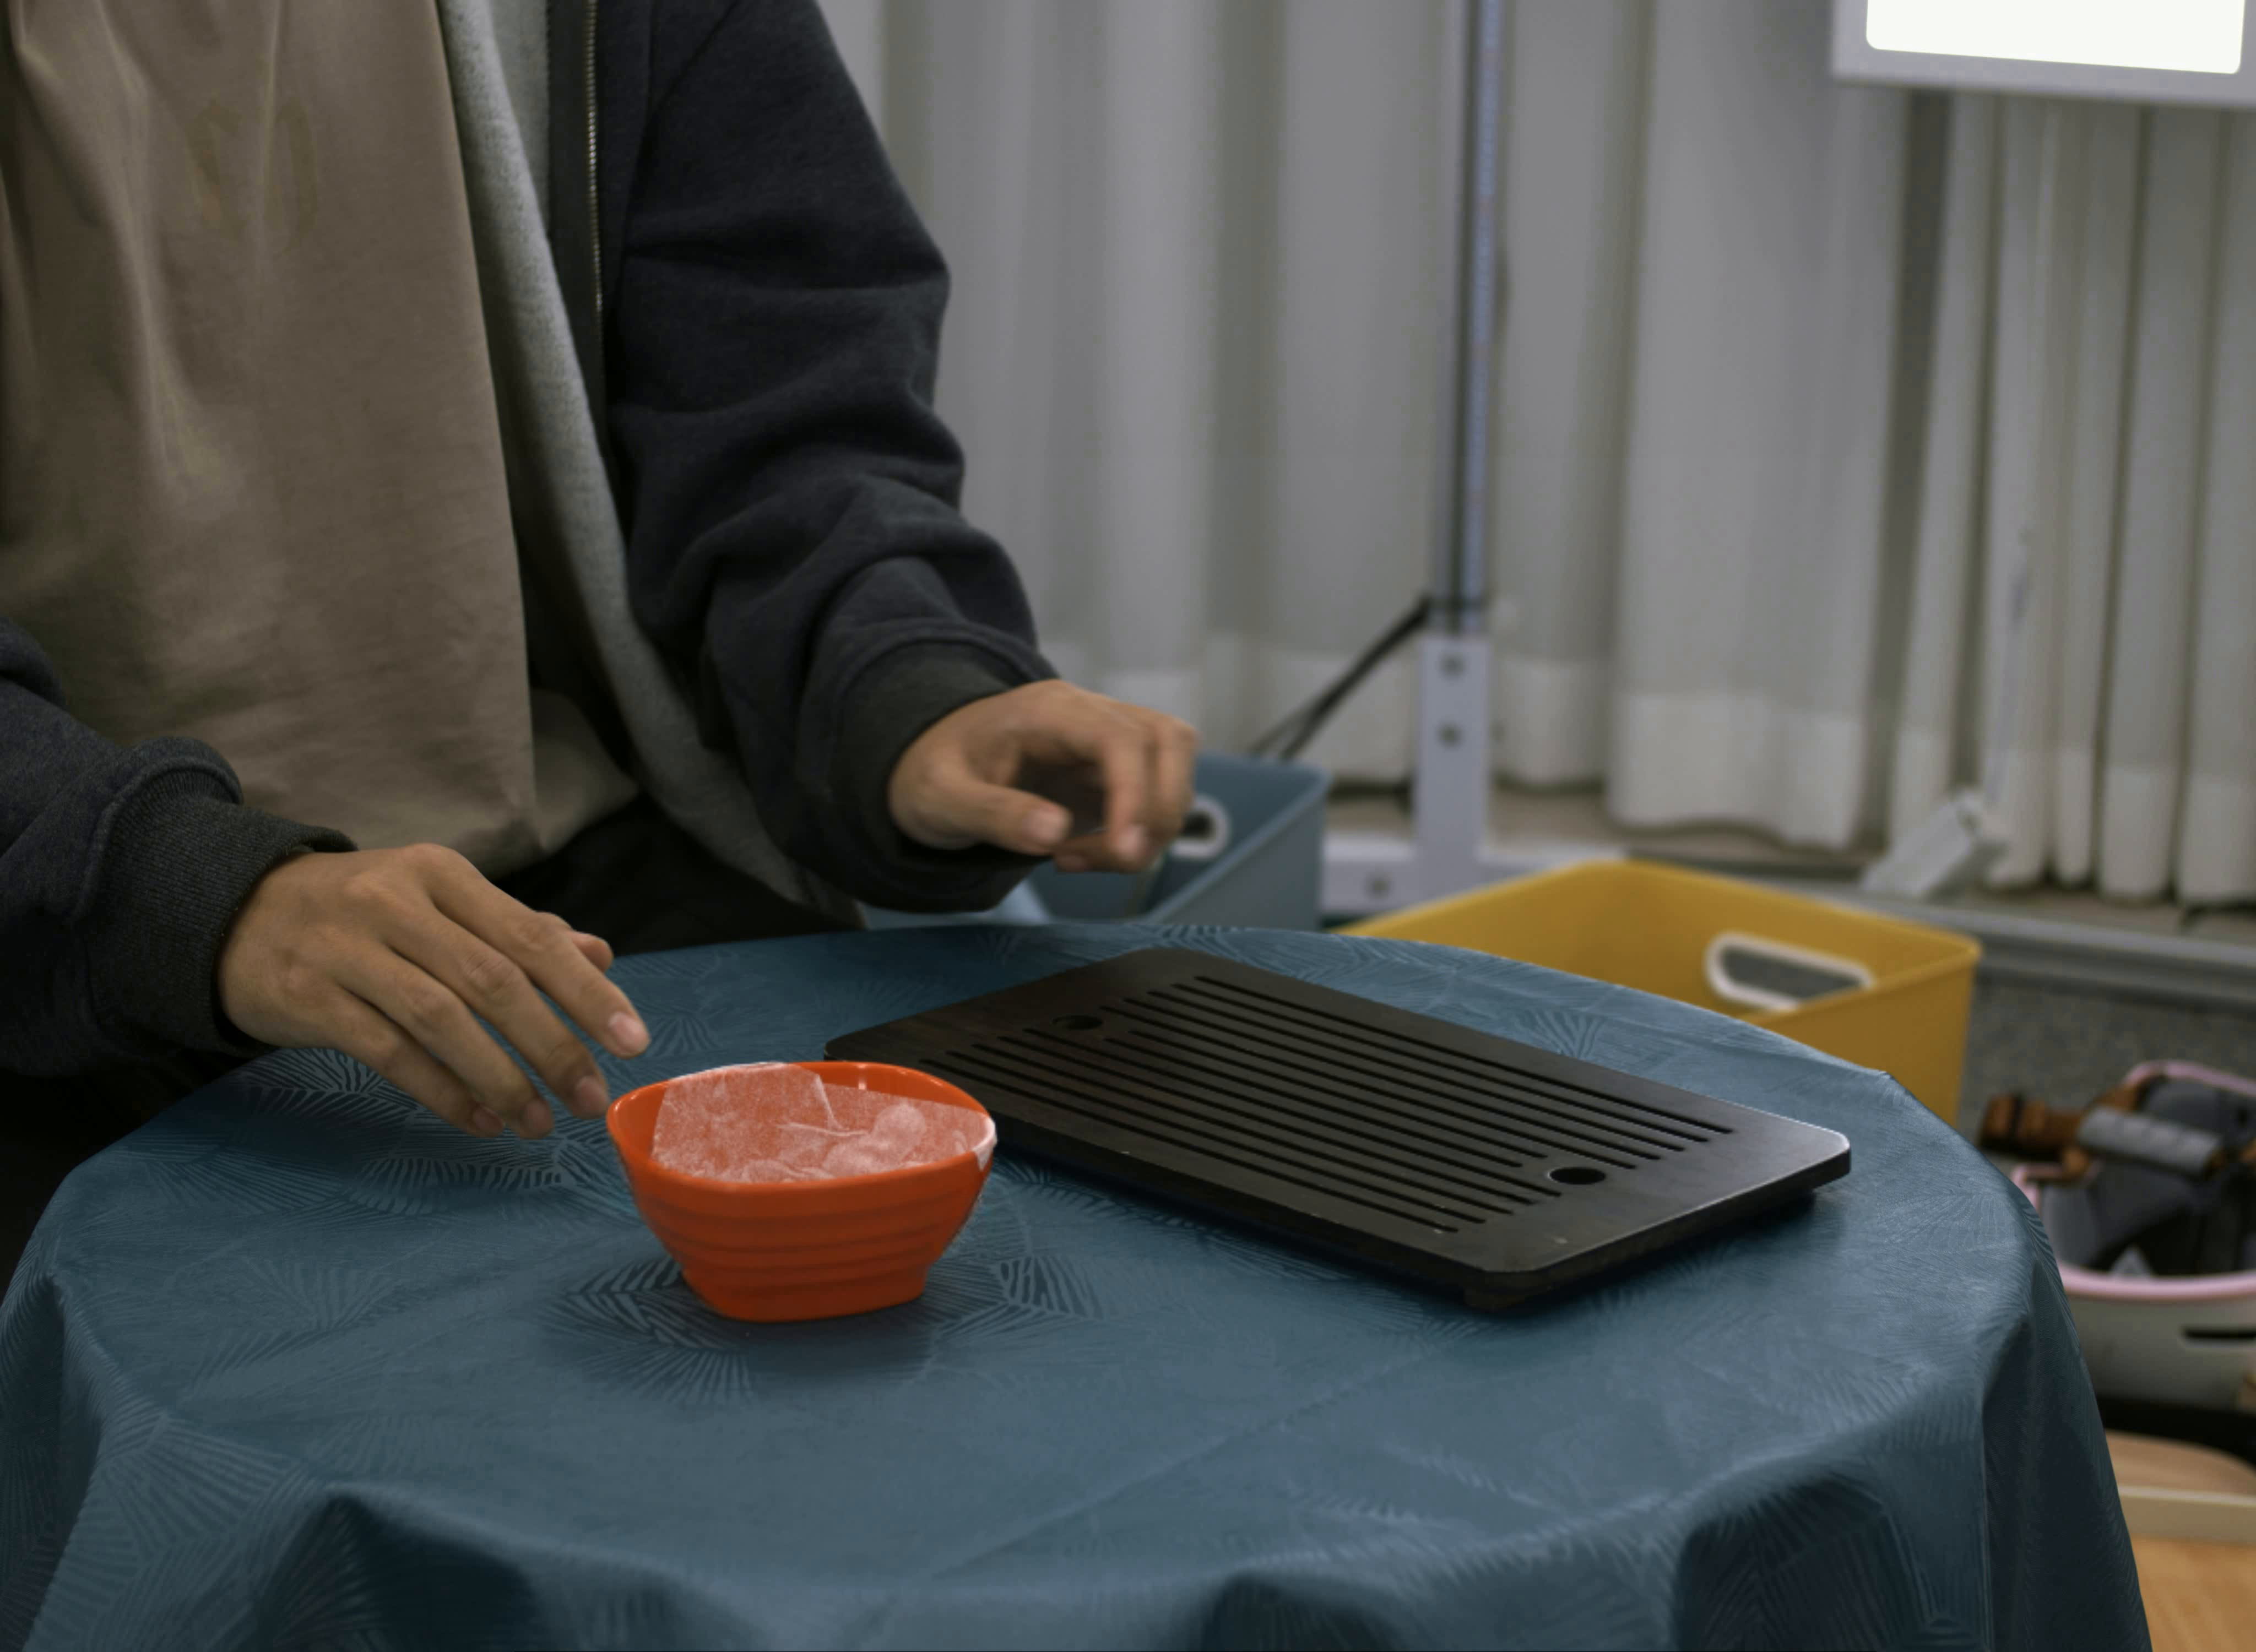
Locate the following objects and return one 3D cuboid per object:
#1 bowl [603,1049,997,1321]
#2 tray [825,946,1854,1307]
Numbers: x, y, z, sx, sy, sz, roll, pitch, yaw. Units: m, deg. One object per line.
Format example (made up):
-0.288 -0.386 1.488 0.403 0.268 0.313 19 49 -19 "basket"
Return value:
-0.096 0.107 1.536 0.118 0.052 0.118 1 17 0 "bowl"
0.062 0.091 1.666 0.302 0.019 0.171 15 21 42 "tray"
